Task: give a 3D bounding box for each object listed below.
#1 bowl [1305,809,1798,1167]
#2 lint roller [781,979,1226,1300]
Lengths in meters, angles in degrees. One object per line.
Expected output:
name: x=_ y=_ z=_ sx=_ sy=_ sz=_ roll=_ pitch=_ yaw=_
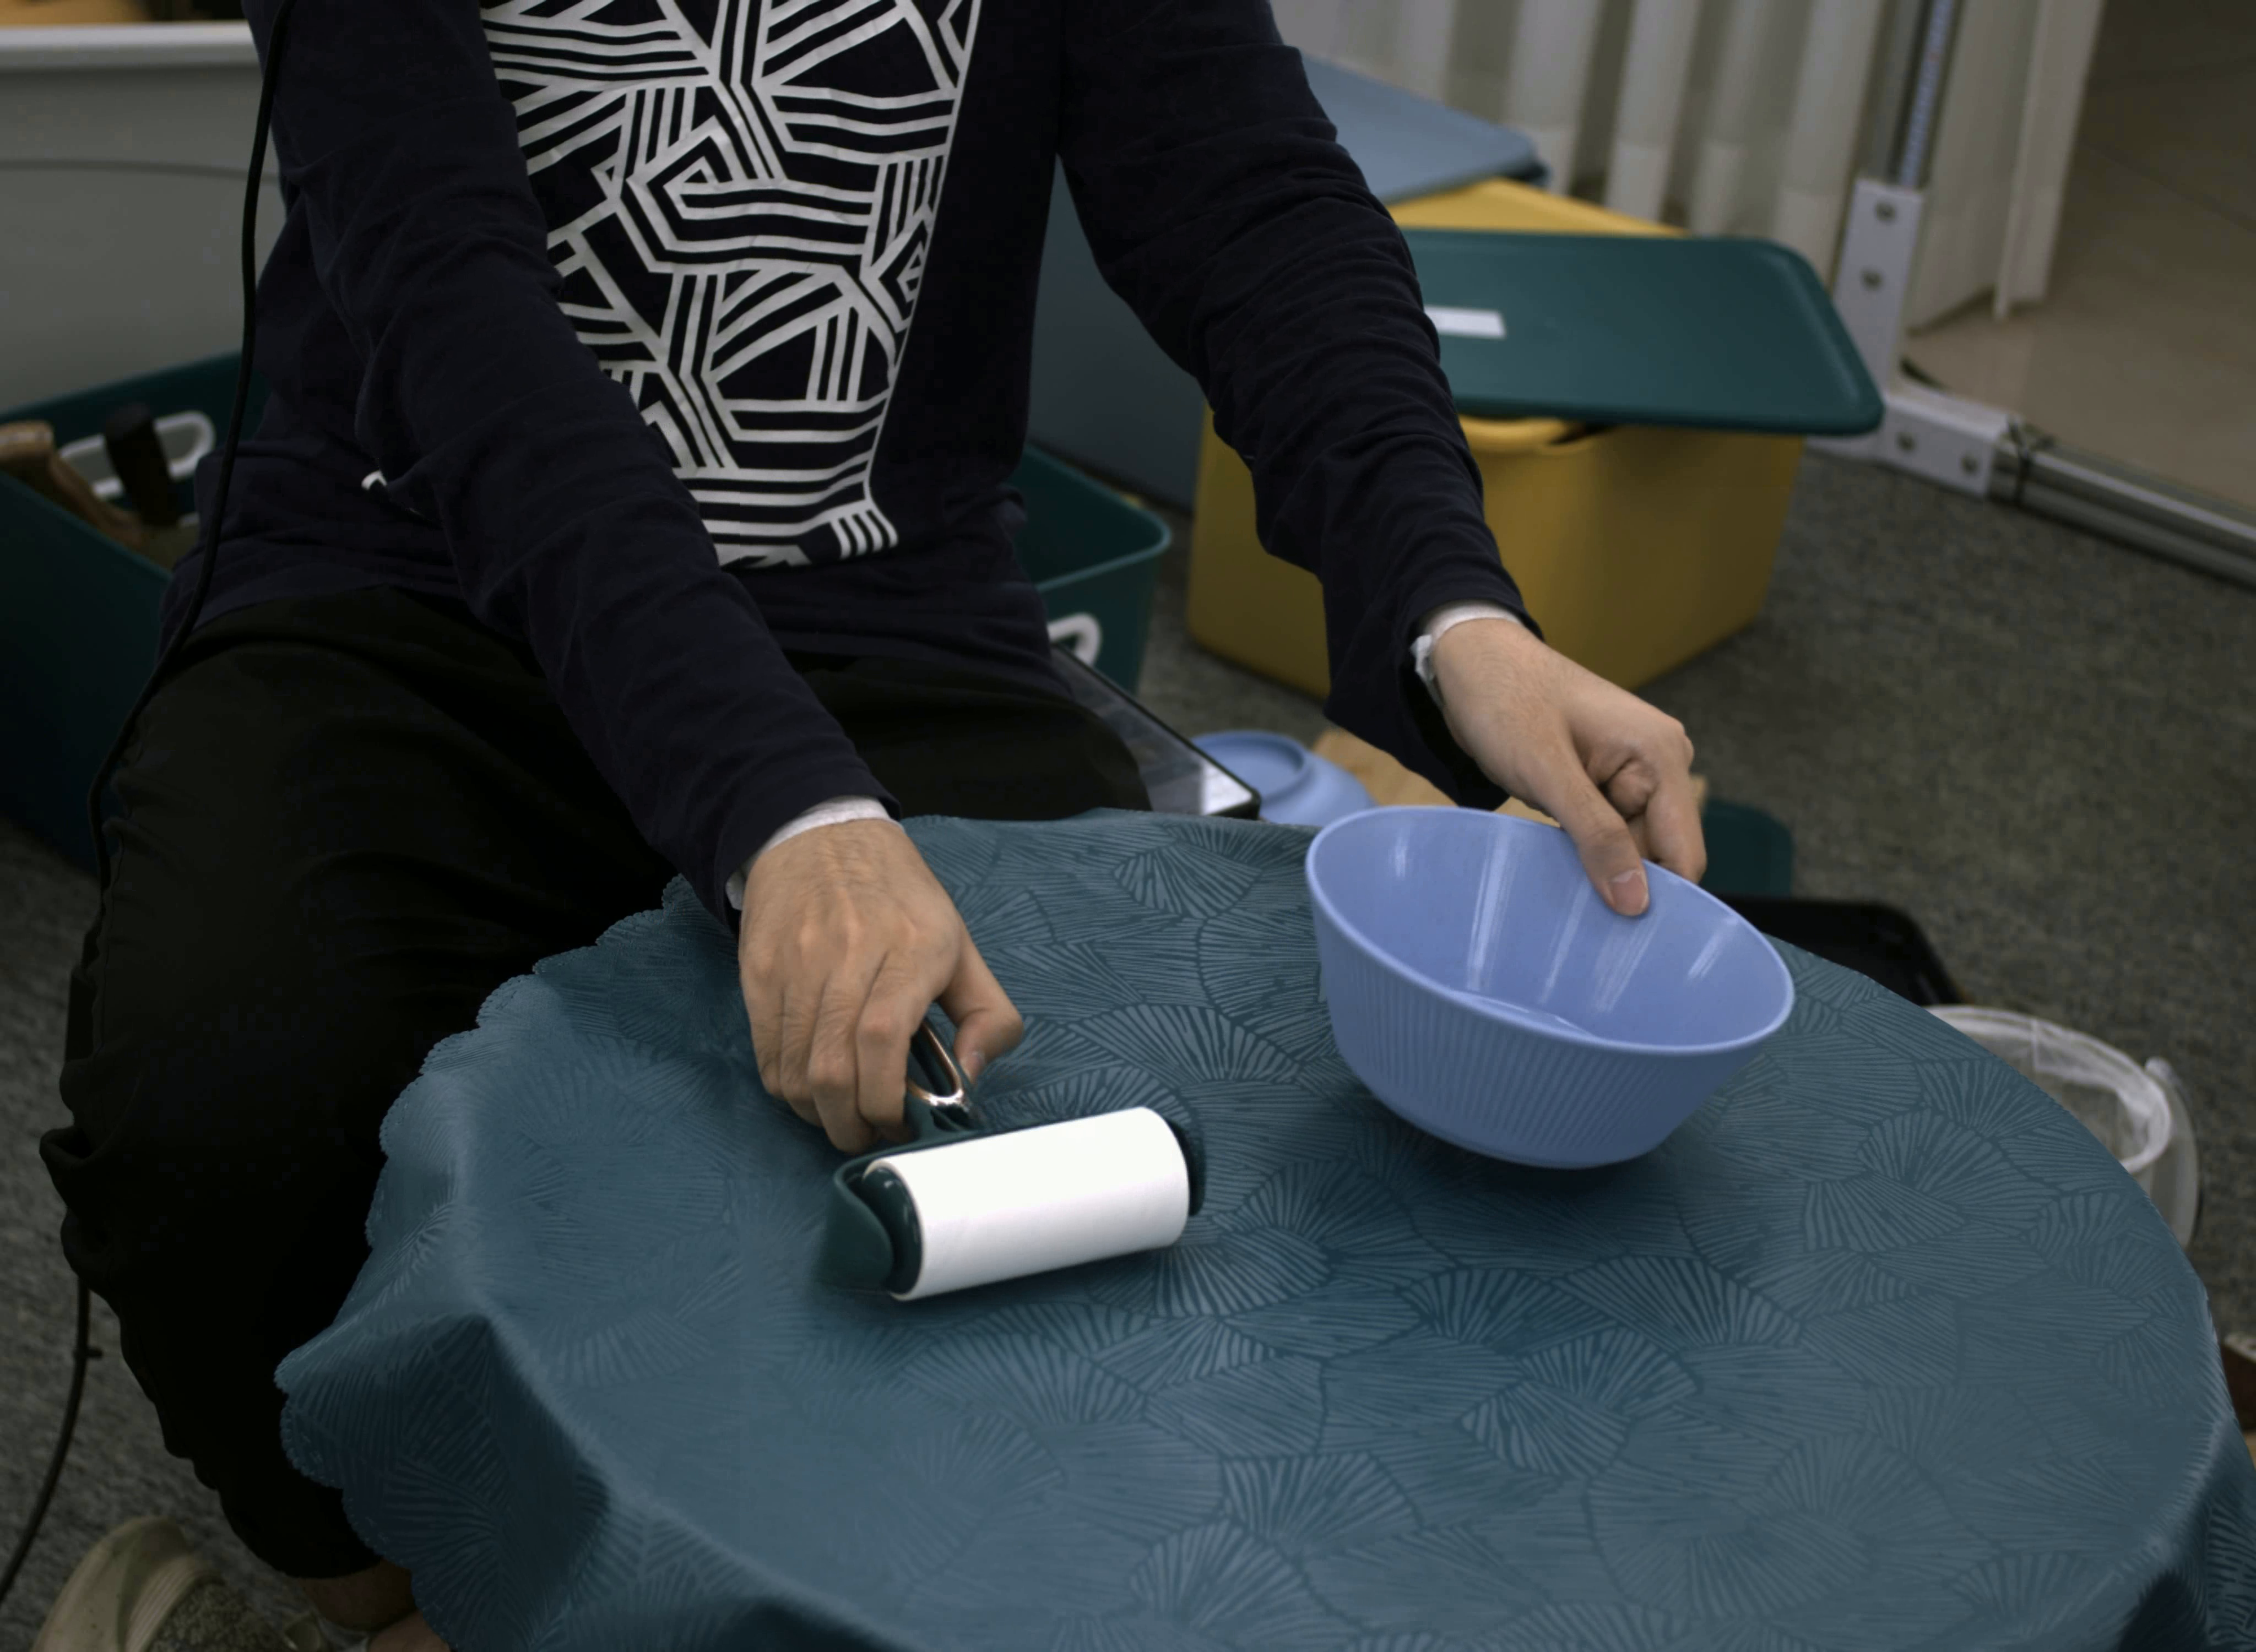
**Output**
bowl: x=0.139 y=0.062 z=1.848 sx=0.175 sy=0.070 sz=0.177 roll=12 pitch=23 yaw=-6
lint roller: x=-0.067 y=0.087 z=1.790 sx=0.133 sy=0.048 sz=0.182 roll=-9 pitch=38 yaw=-29
